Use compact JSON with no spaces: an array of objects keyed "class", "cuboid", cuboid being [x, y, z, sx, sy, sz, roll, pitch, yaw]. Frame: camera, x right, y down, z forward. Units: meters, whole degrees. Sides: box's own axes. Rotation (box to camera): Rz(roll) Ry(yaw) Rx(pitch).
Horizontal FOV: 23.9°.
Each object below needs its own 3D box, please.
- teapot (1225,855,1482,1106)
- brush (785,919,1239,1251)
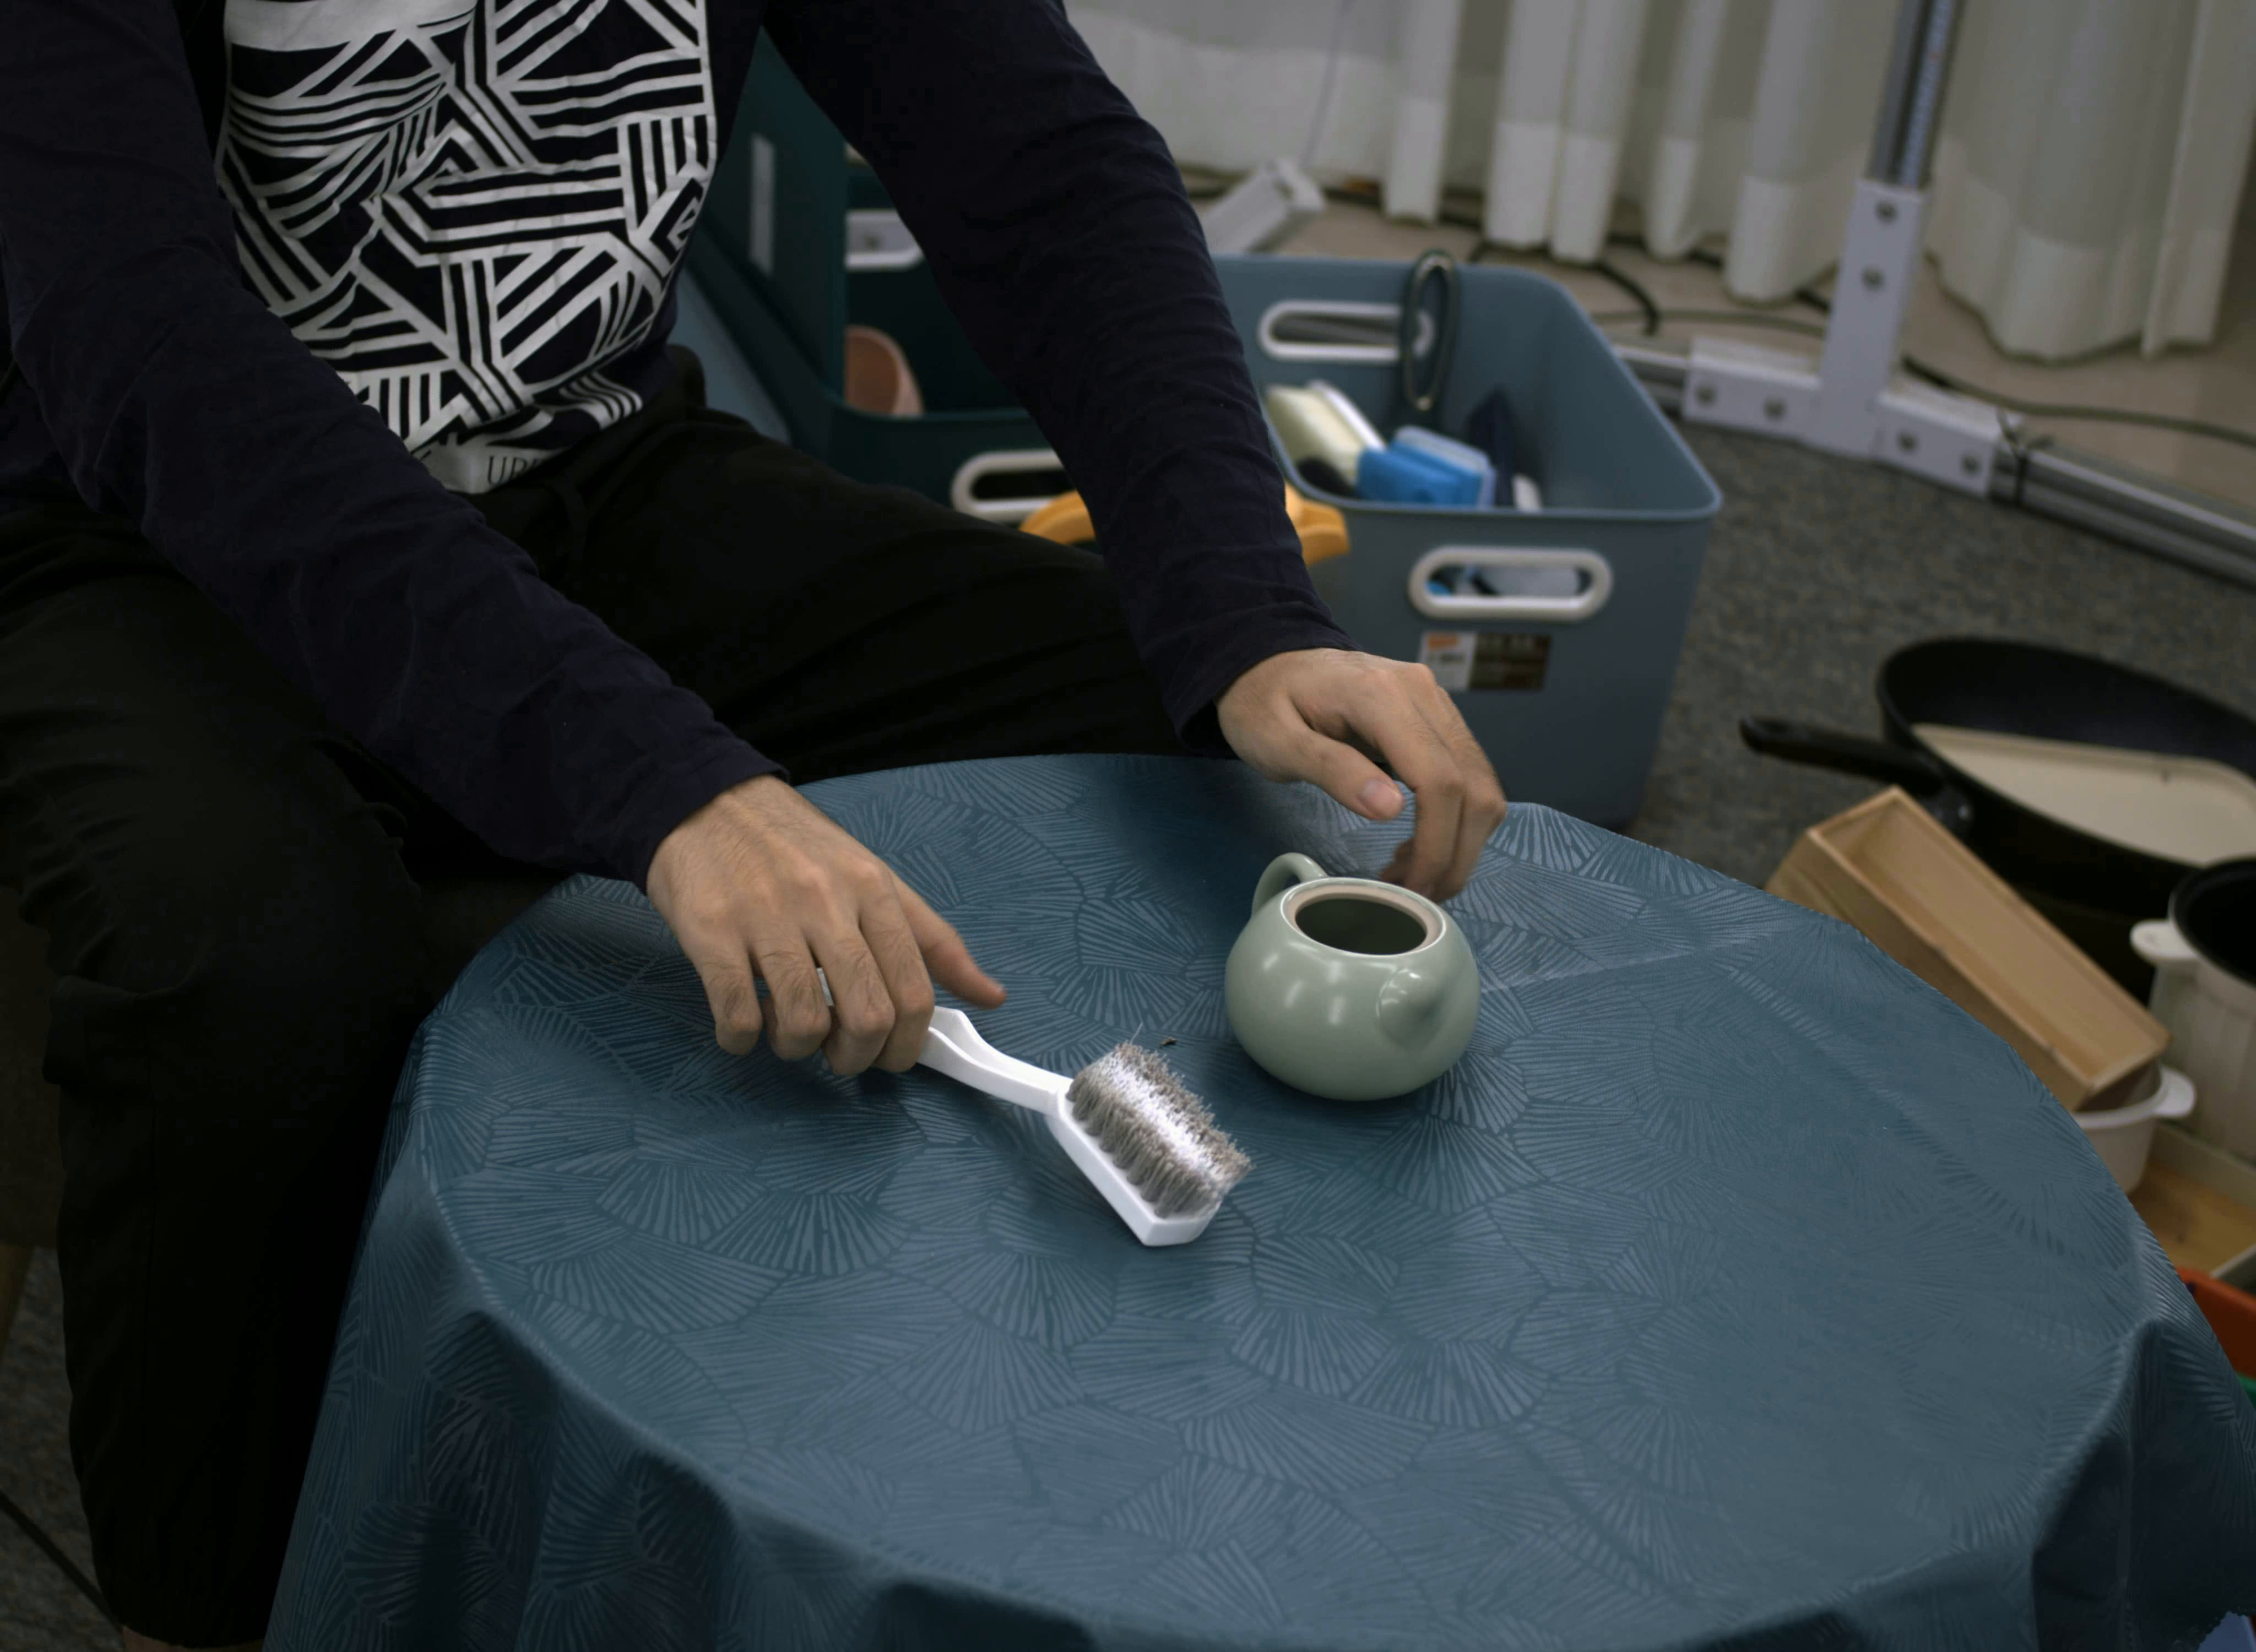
[{"class":"teapot","cuboid":[0.077,0.055,1.895,0.091,0.061,0.129,-9,30,-17]},{"class":"brush","cuboid":[-0.046,0.072,1.844,0.034,0.050,0.246,-17,36,-32]}]
